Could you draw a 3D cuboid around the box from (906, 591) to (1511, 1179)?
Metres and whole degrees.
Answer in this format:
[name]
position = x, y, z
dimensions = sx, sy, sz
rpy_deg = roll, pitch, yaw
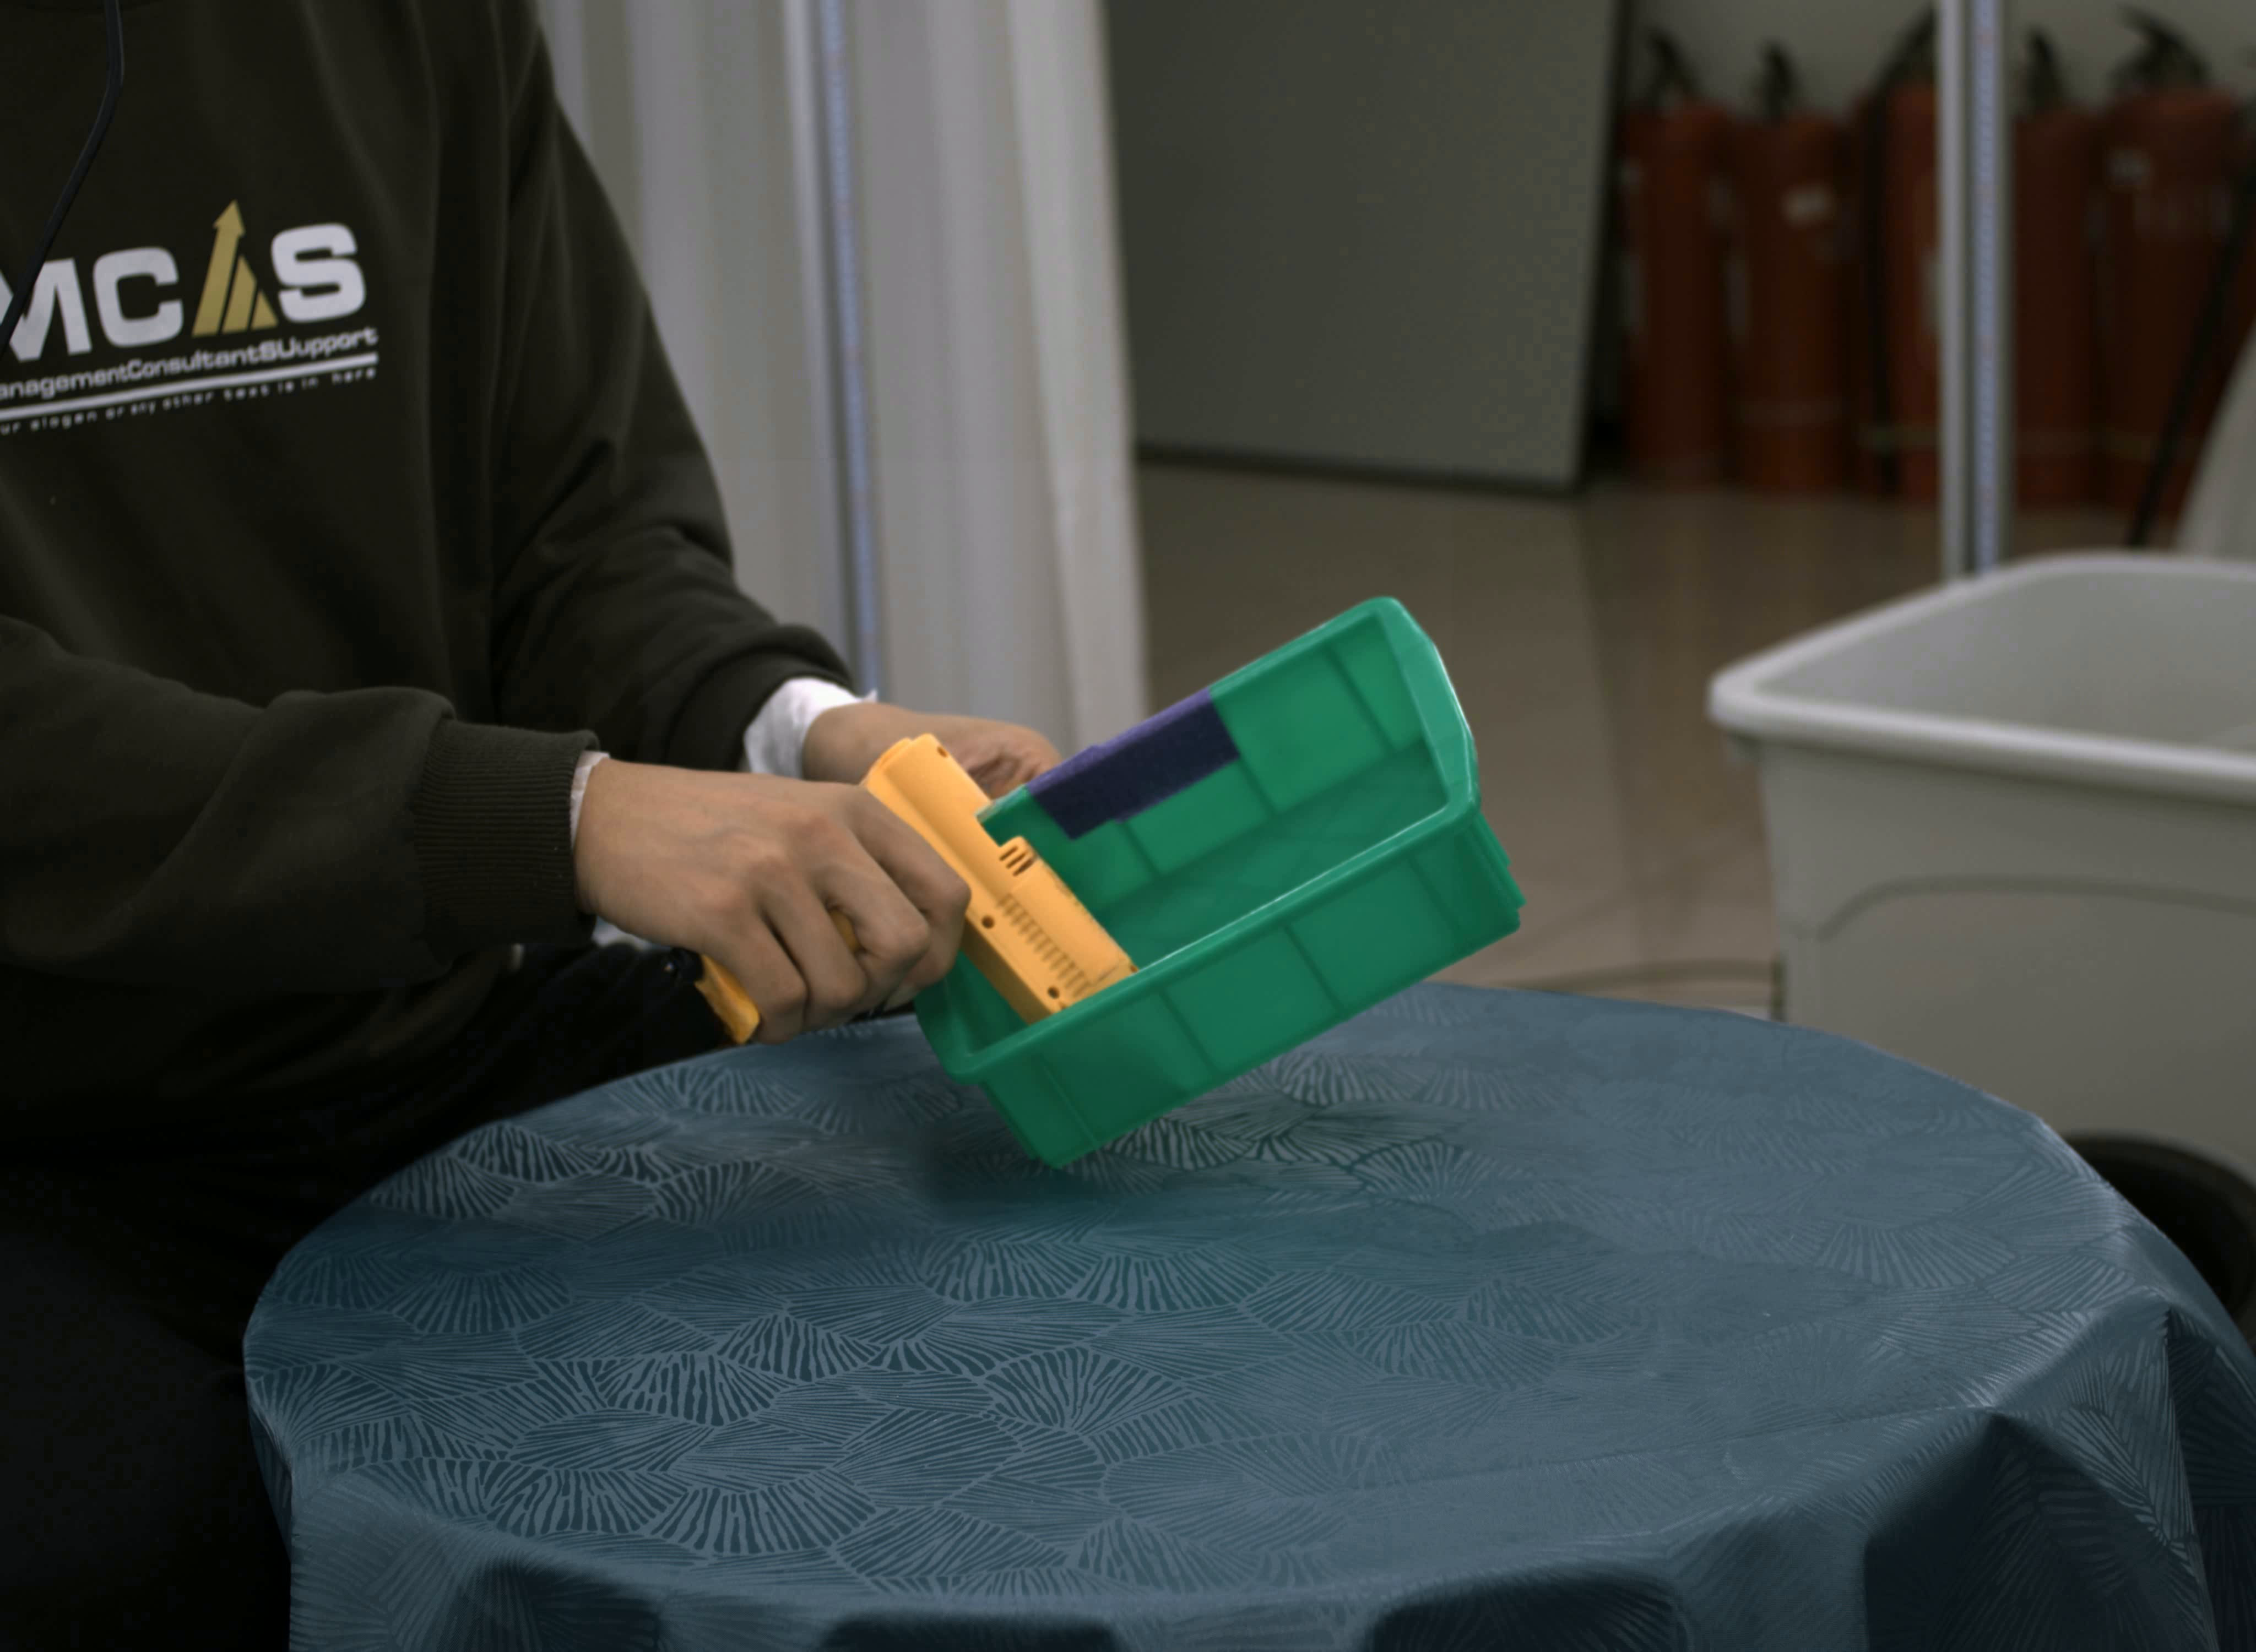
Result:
[box]
position = 0.027, 0.023, 1.824
dimensions = 0.210, 0.065, 0.140
rpy_deg = -31, 32, 9

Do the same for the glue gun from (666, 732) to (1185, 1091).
[glue gun]
position = -0.058, 0.058, 1.785
dimensions = 0.132, 0.151, 0.031
rpy_deg = -42, -7, -32
